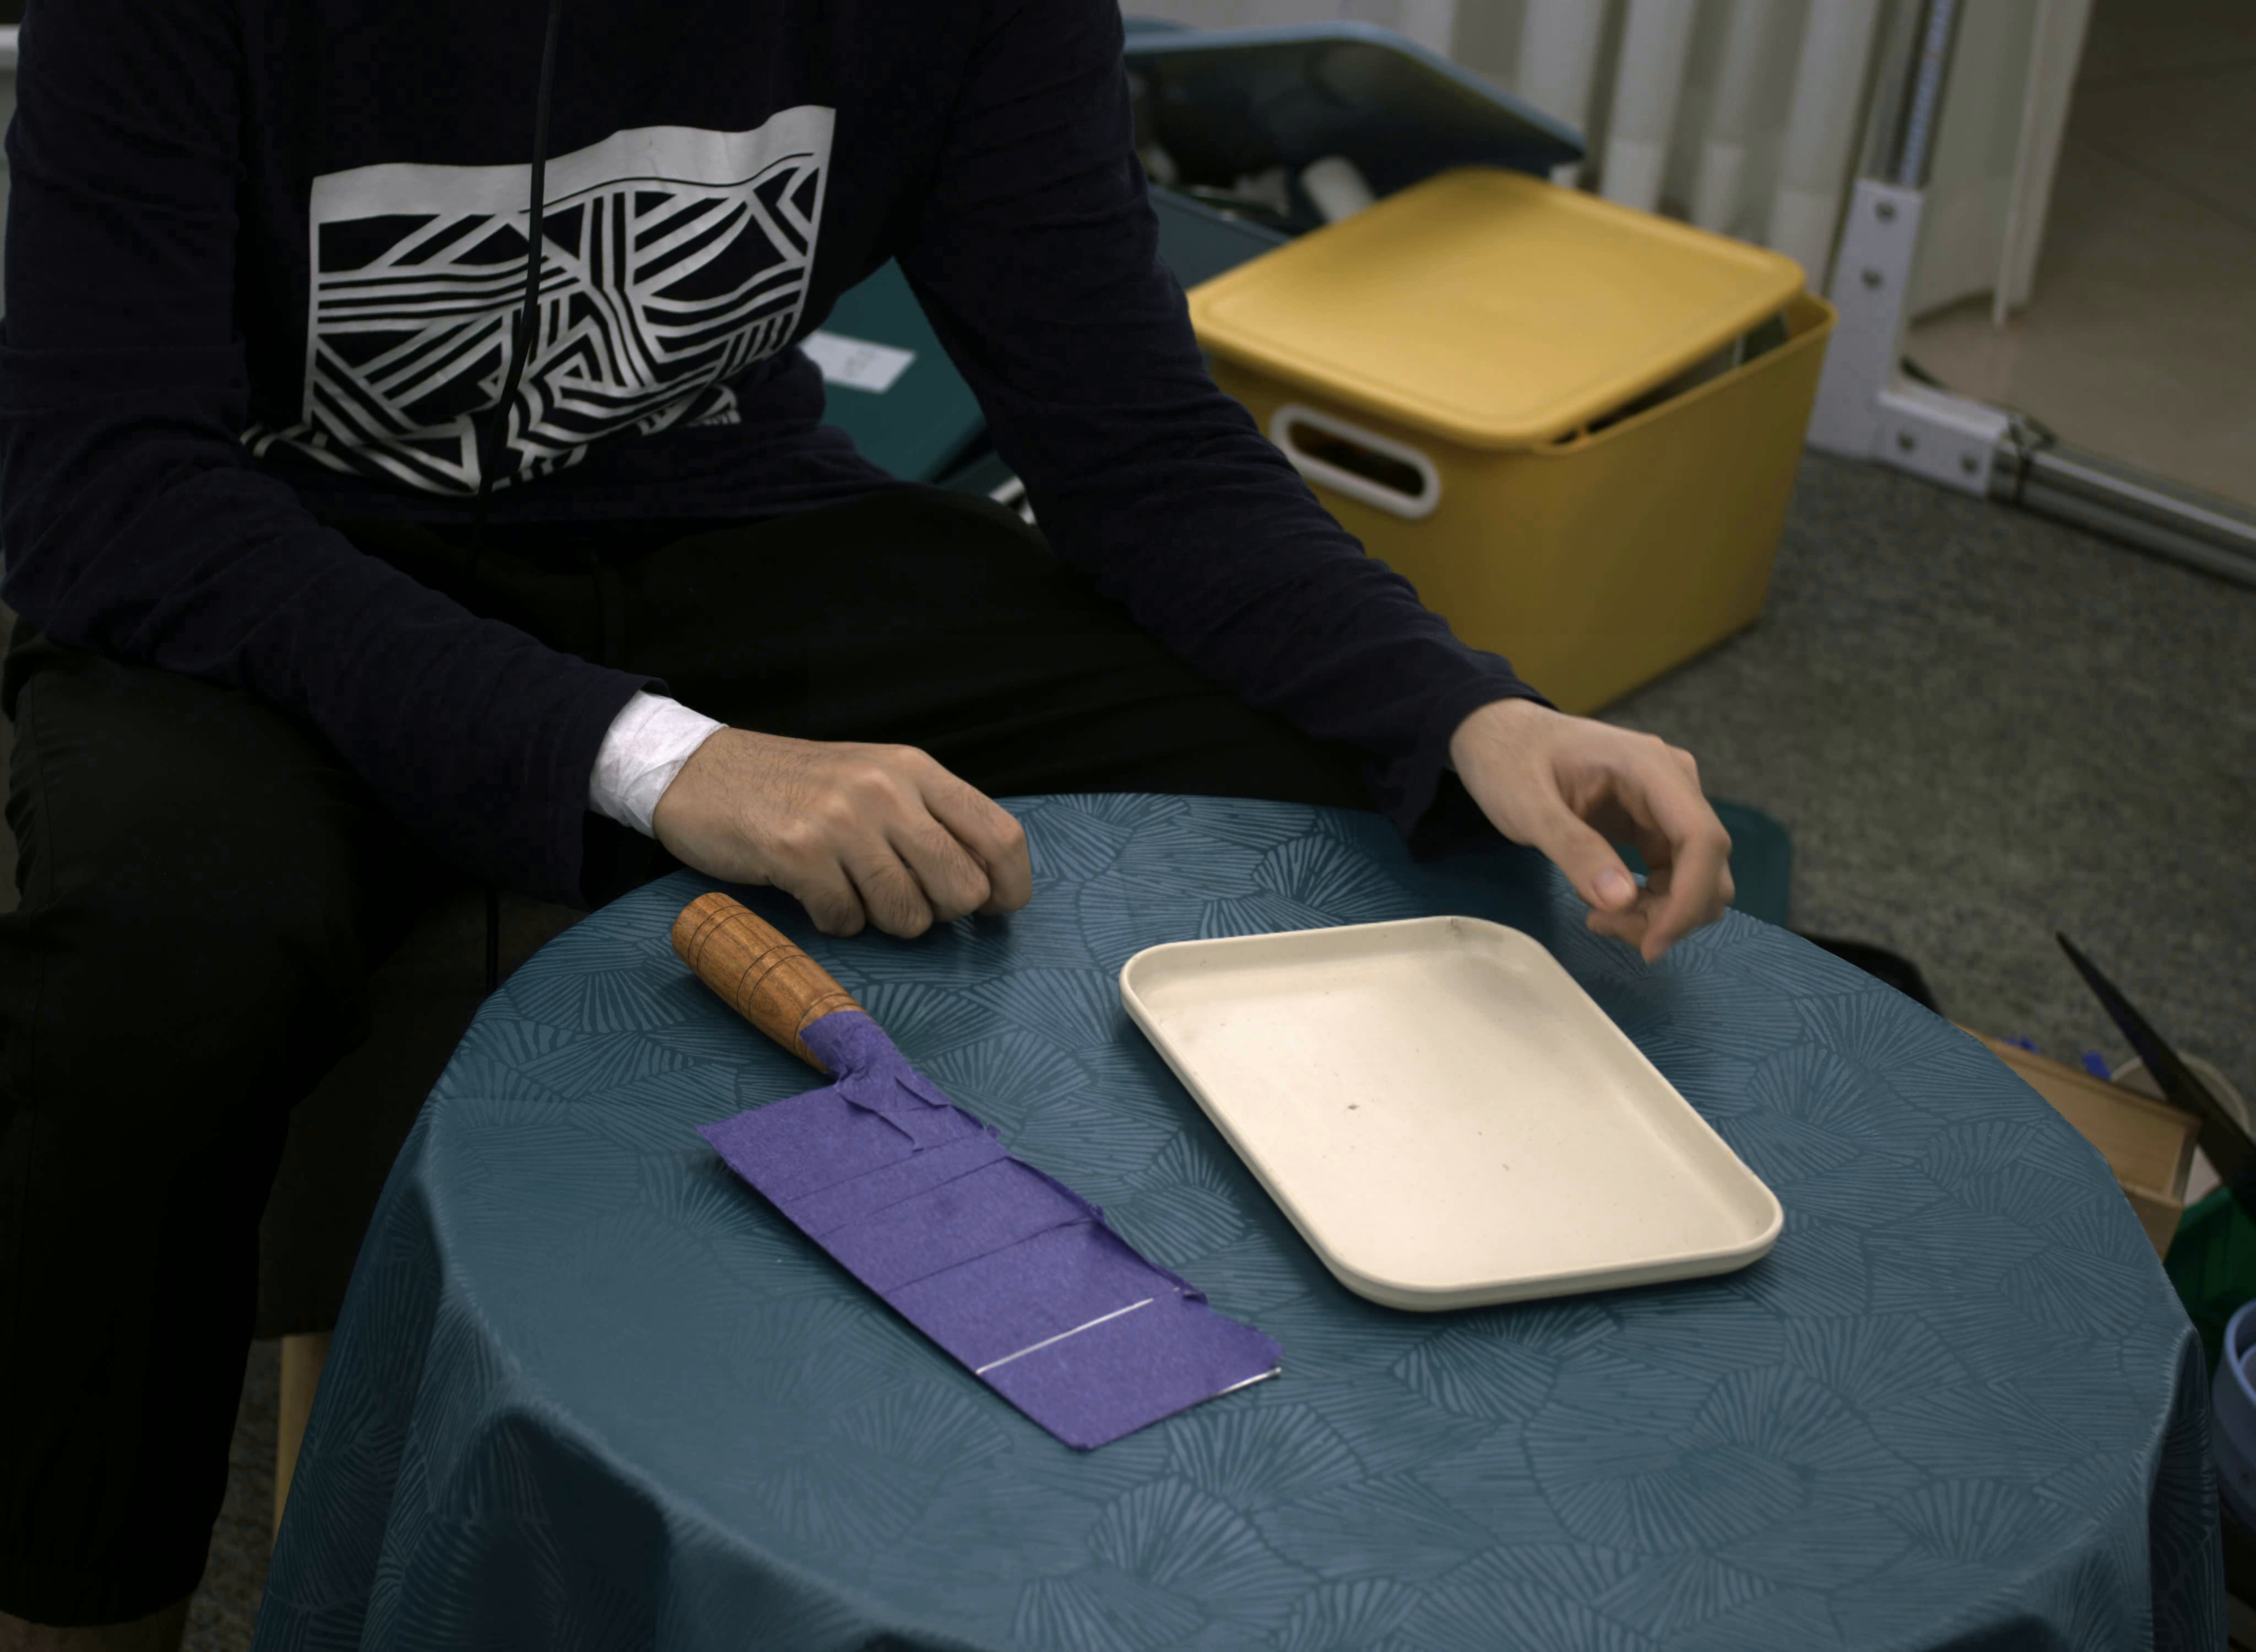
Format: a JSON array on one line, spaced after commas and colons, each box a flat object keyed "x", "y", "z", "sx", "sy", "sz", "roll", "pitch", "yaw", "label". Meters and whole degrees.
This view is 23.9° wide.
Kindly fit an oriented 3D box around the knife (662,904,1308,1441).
[{"x": -0.078, "y": 0.112, "z": 1.782, "sx": 0.103, "sy": 0.032, "sz": 0.318, "roll": -16, "pitch": 35, "yaw": -38, "label": "knife"}]

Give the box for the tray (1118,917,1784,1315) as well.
[{"x": 0.109, "y": 0.099, "z": 1.859, "sx": 0.170, "sy": 0.017, "sz": 0.242, "roll": -6, "pitch": 29, "yaw": -22, "label": "tray"}]
